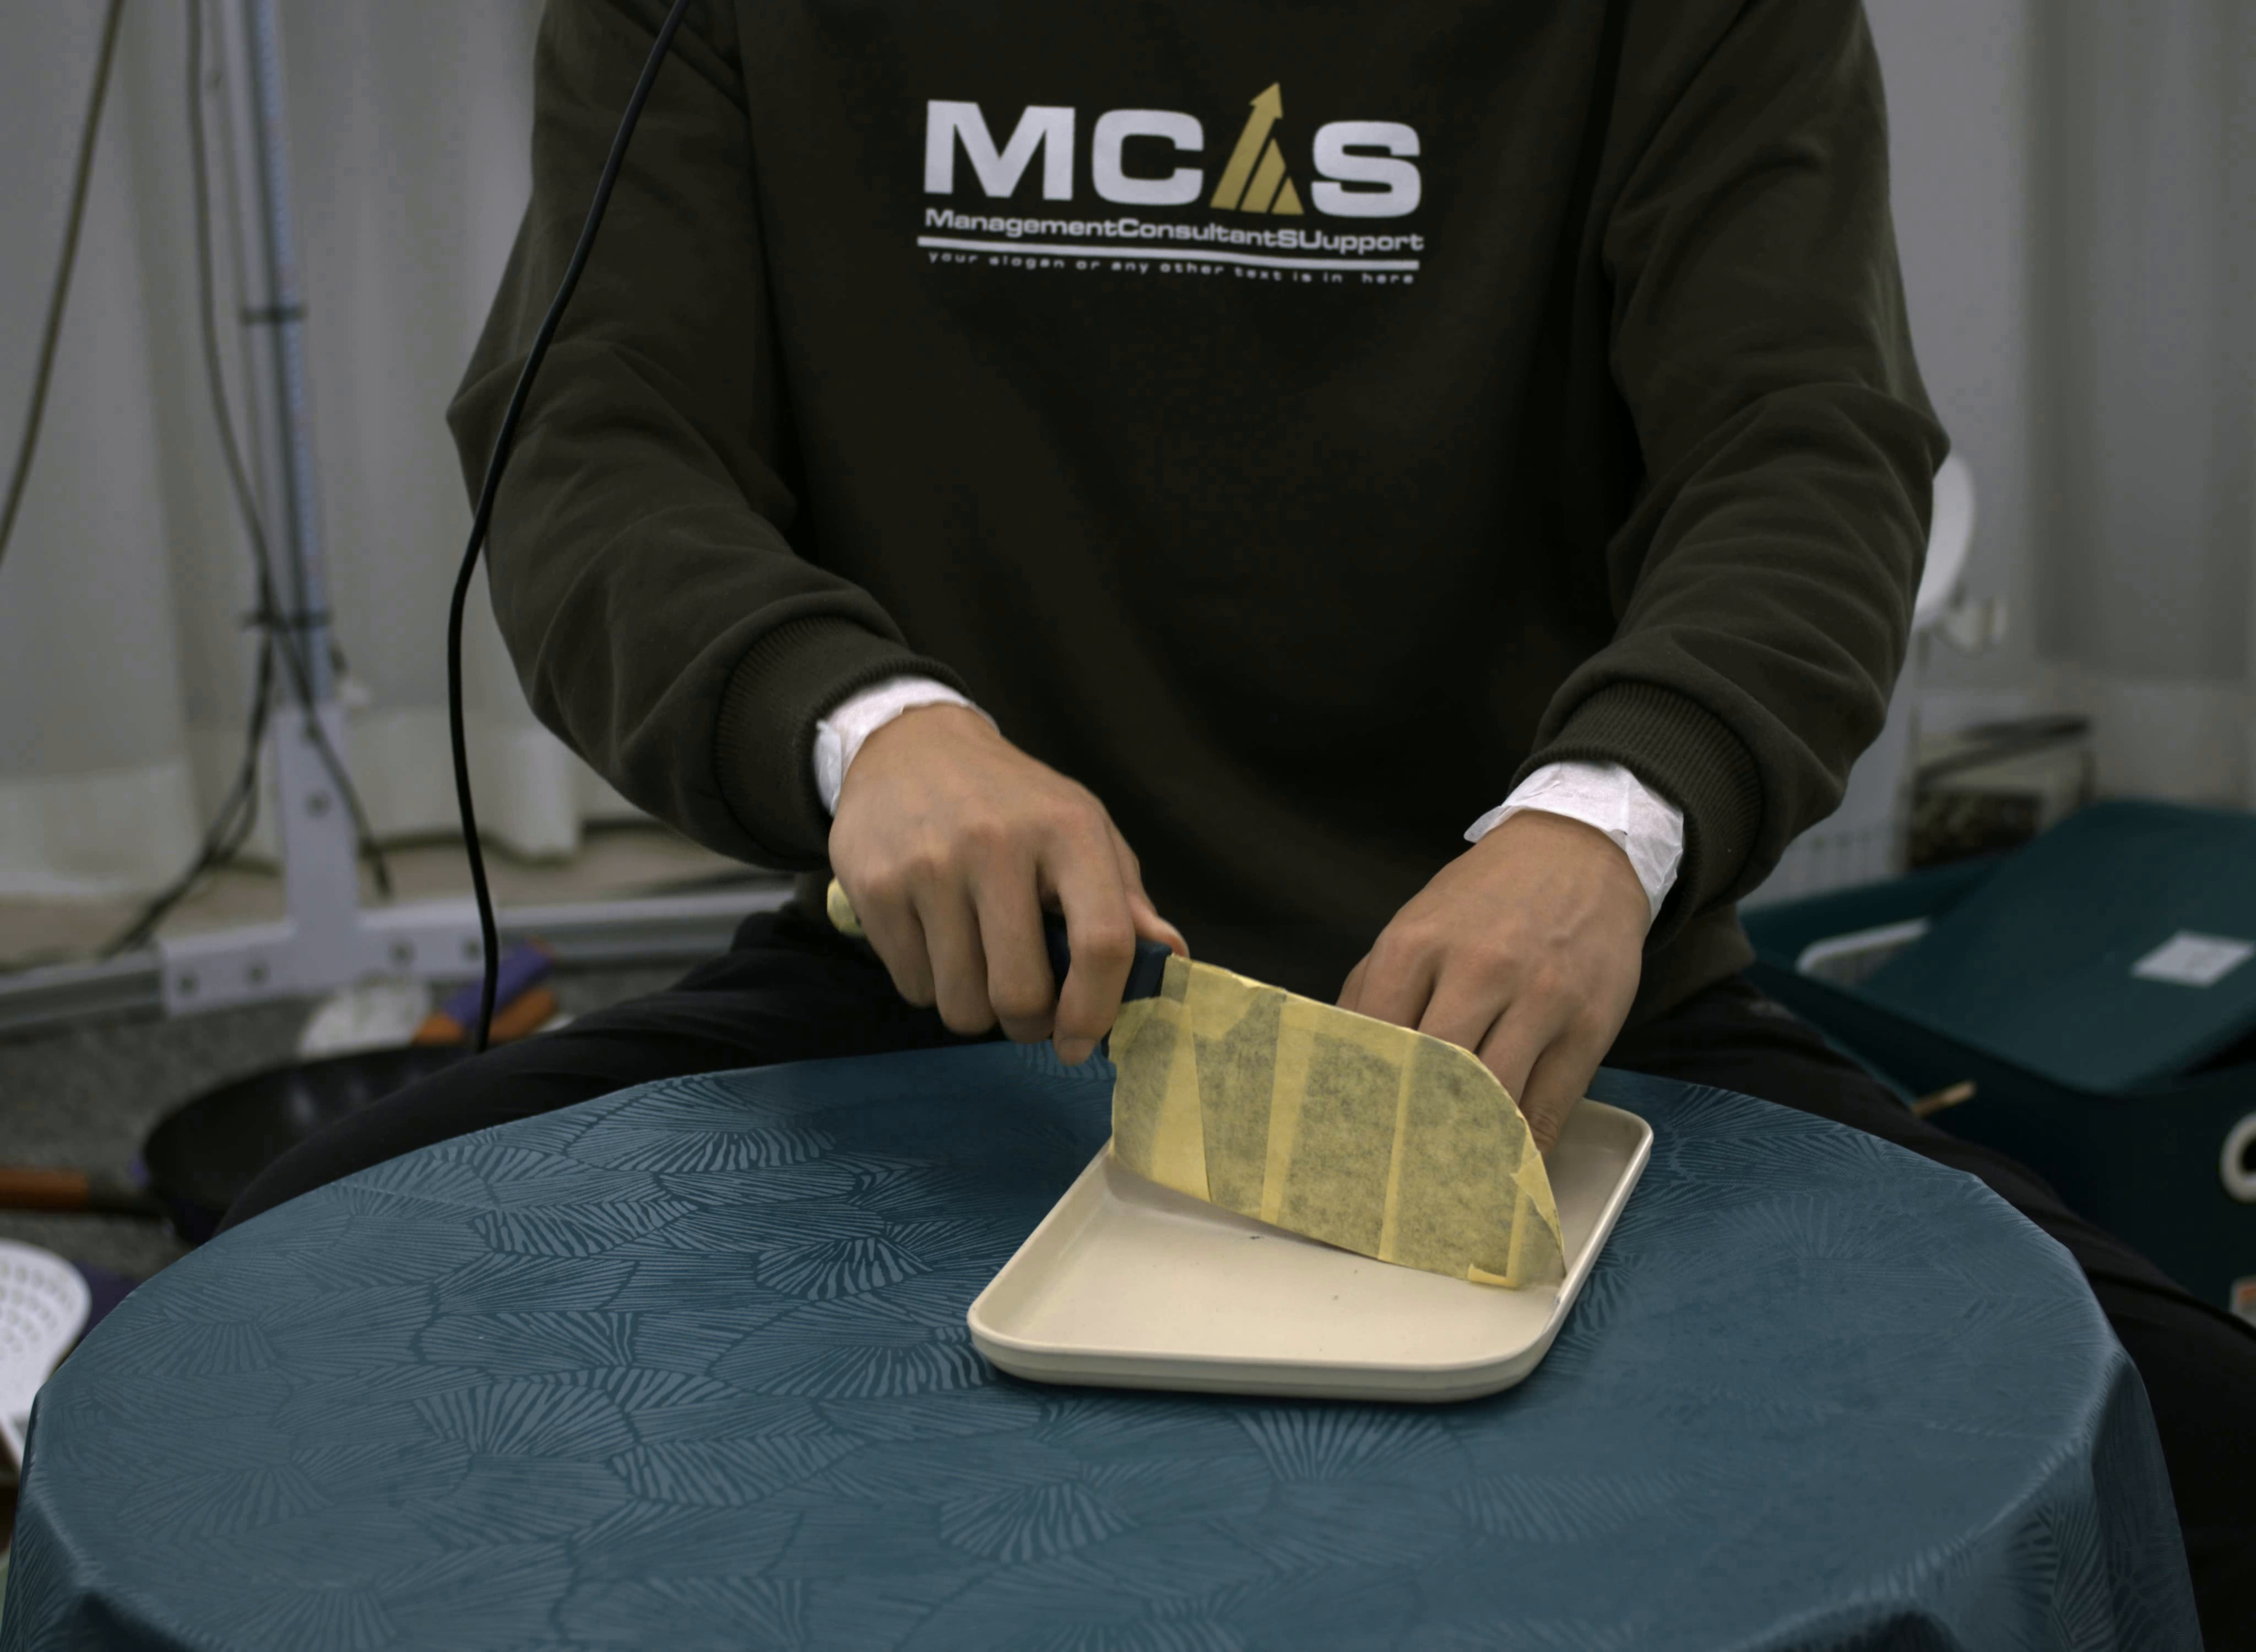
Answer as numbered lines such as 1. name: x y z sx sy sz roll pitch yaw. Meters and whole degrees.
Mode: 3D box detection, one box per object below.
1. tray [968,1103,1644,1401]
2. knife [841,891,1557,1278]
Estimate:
1. tray: 0.058 0.125 1.635 0.171 0.017 0.240 1 15 15
2. knife: 0.018 0.076 1.675 0.291 0.081 0.027 20 16 39
